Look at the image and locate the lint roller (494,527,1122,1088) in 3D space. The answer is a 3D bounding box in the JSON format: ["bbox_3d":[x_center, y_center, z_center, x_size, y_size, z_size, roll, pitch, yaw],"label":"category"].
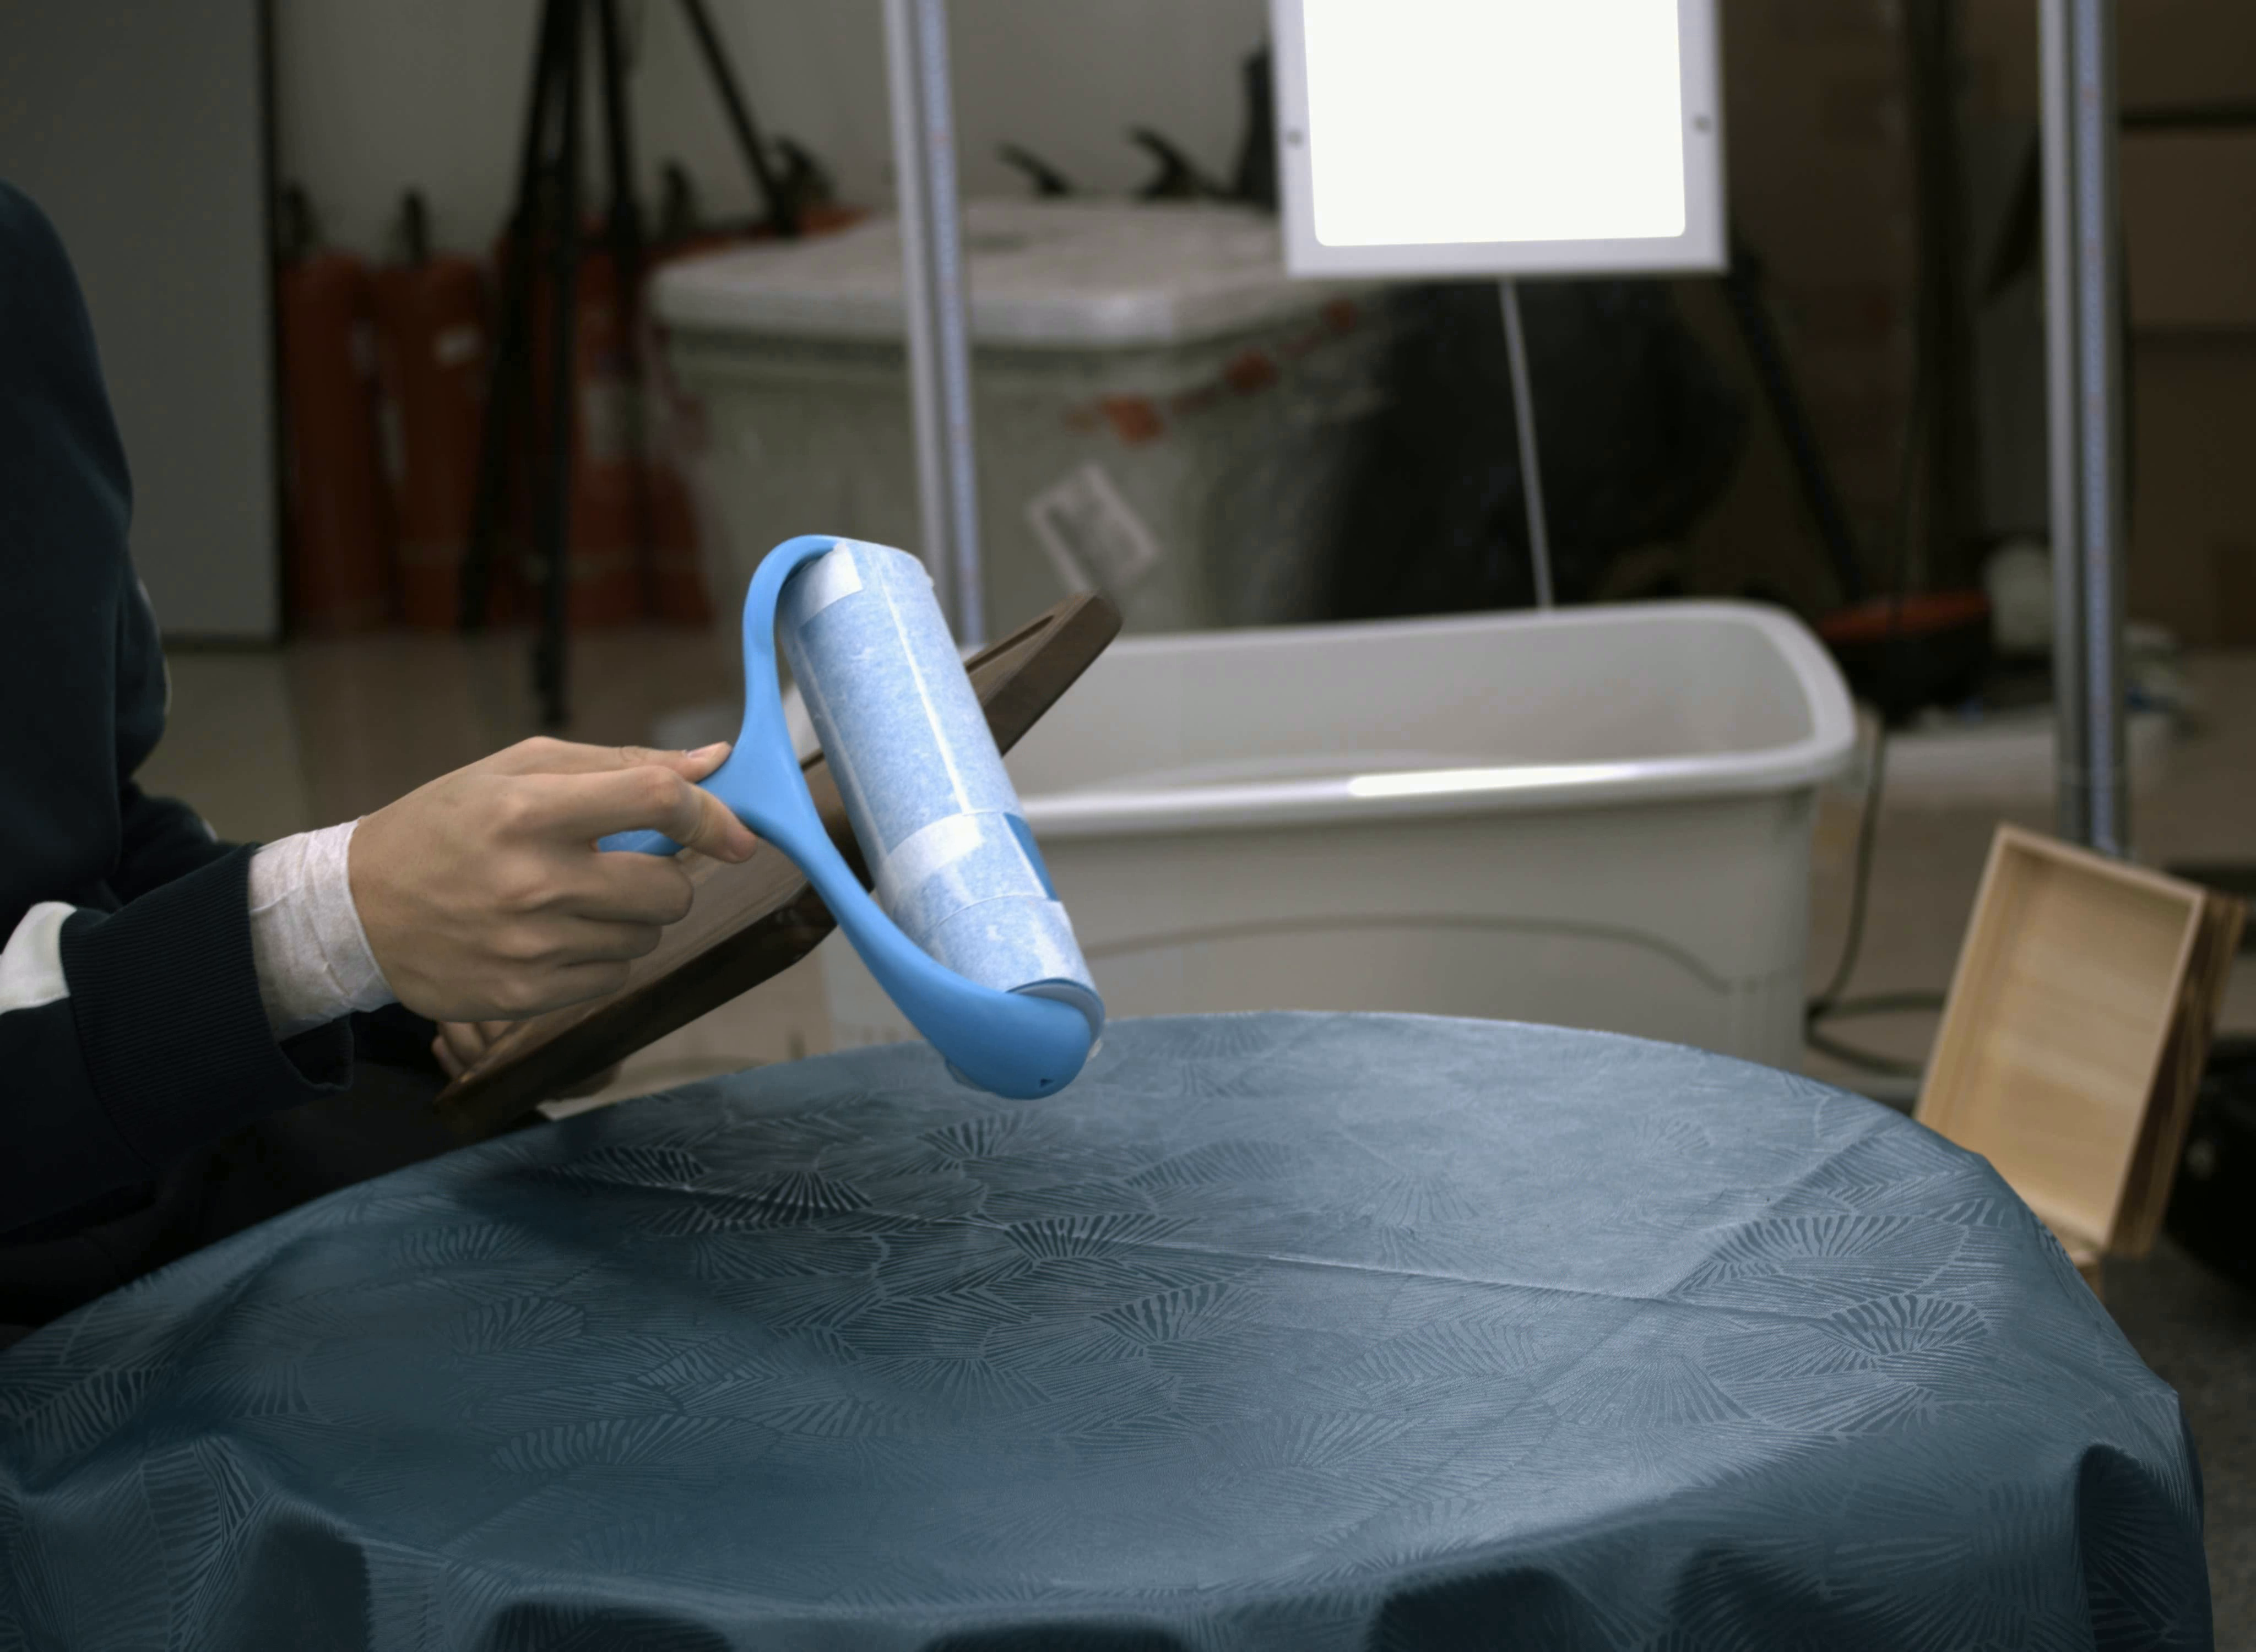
[{"bbox_3d":[-0.113,0.006,1.750,0.178,0.068,0.230,-15,53,-15],"label":"lint roller"}]

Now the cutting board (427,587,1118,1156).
[{"bbox_3d":[-0.153,0.033,1.958,0.360,0.023,0.197,-29,14,52],"label":"cutting board"}]
